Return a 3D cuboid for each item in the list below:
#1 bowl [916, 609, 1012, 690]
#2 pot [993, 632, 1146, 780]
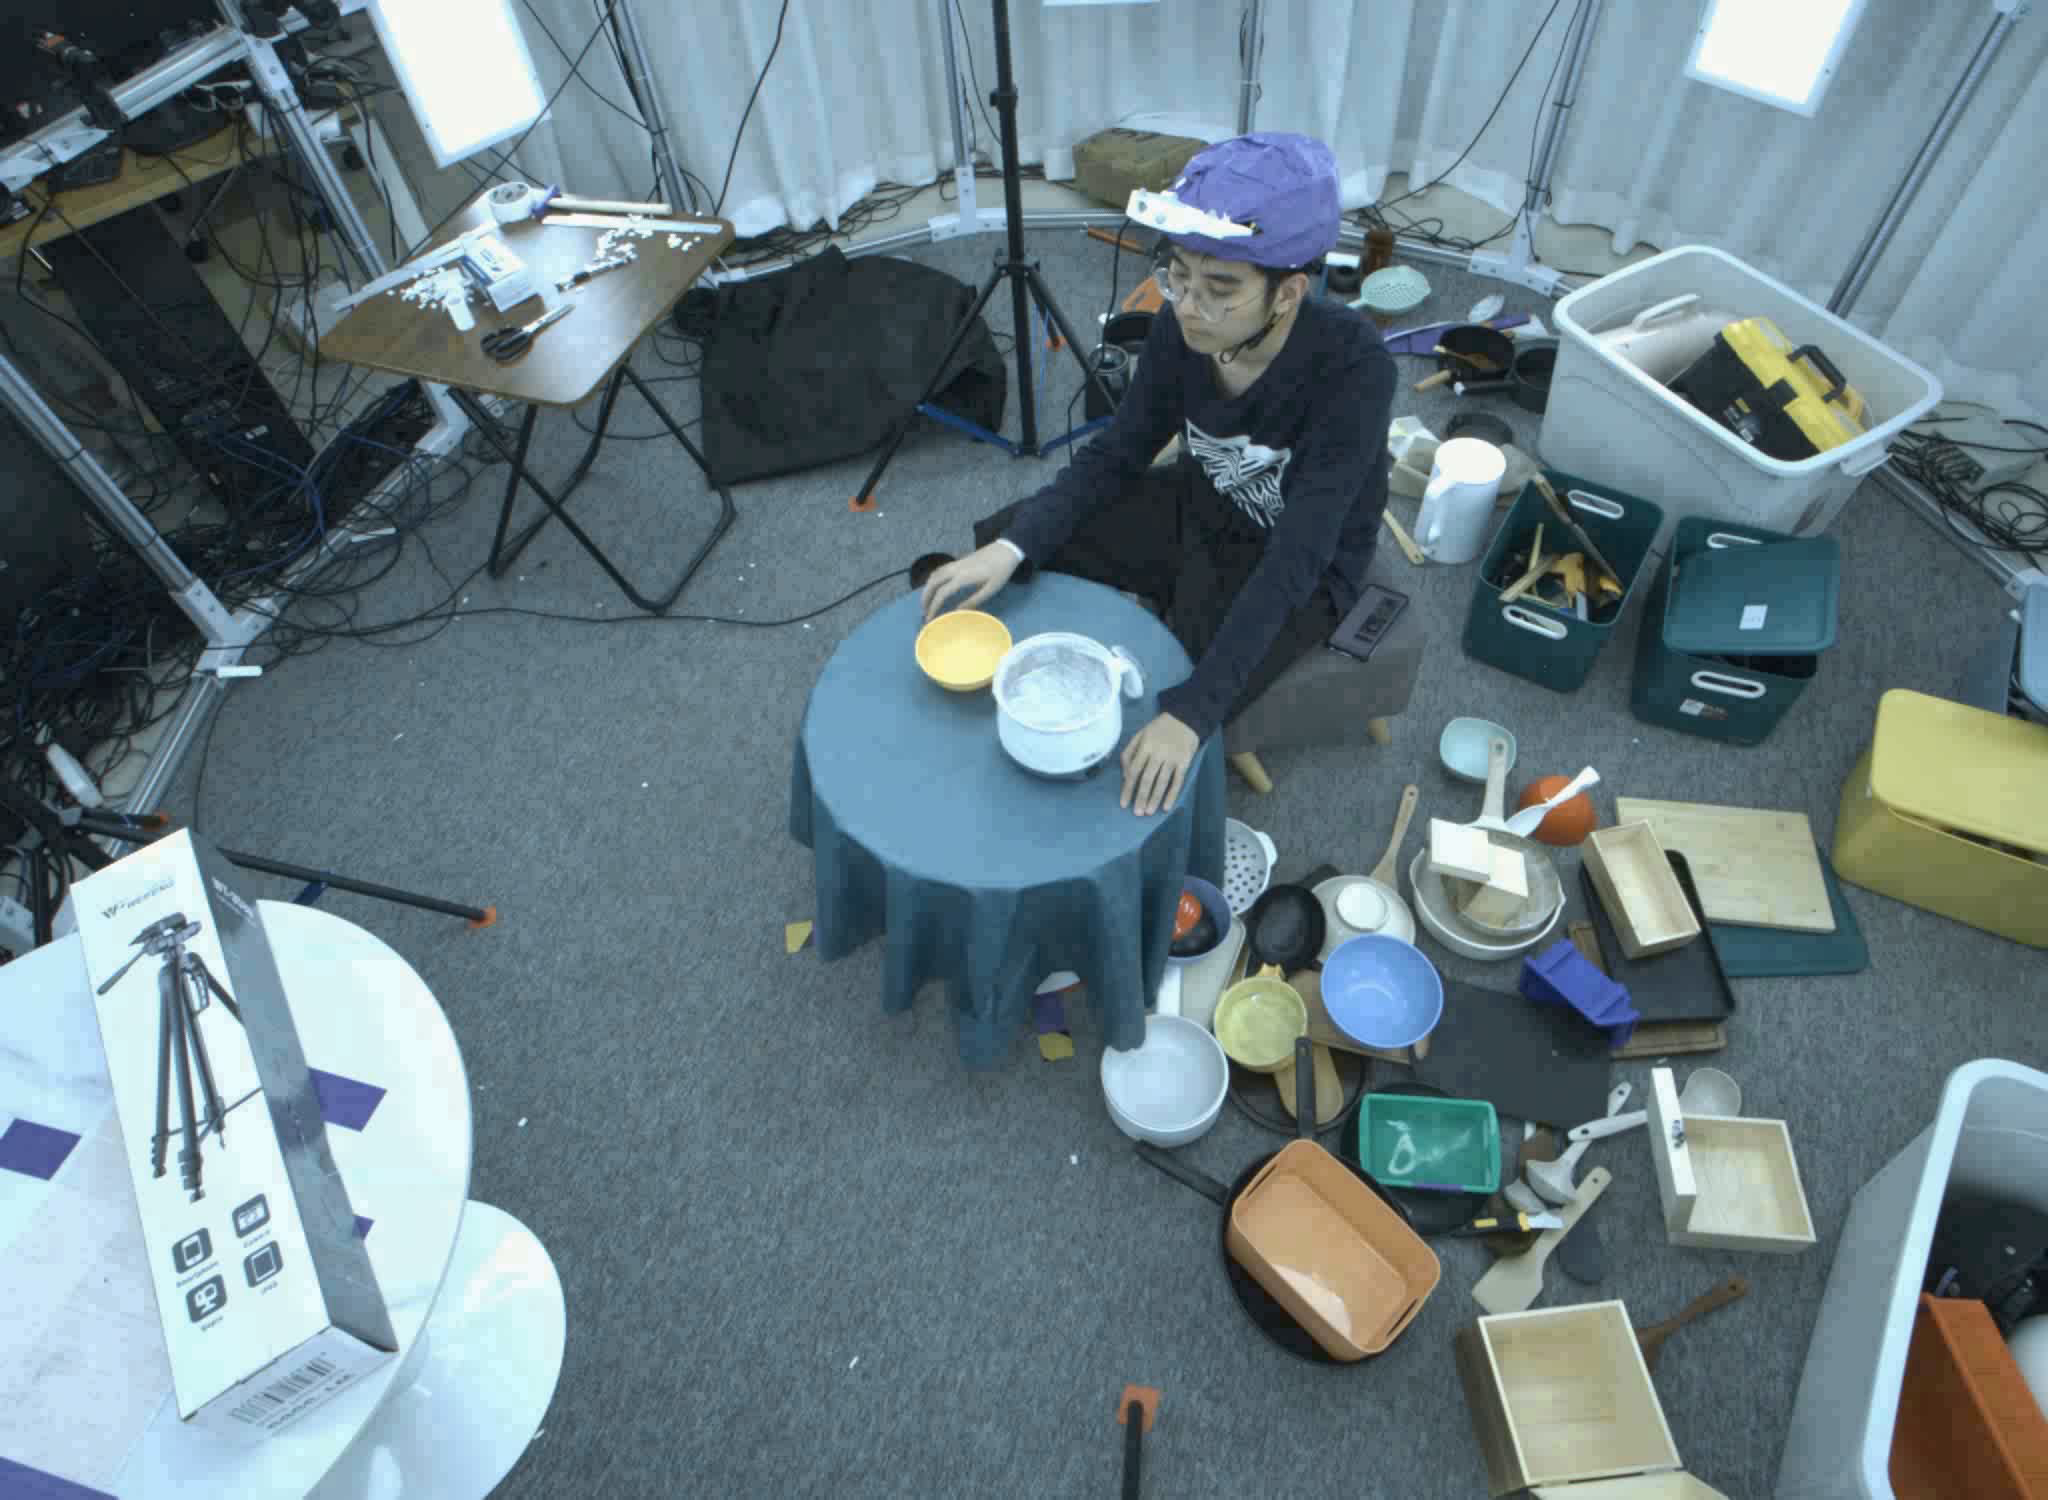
[{"bbox_3d":[-0.089,-0.141,1.860,0.145,0.061,0.144,0,56,1],"label":"bowl"},{"bbox_3d":[0.072,-0.072,1.759,0.235,0.138,0.175,-30,61,-17],"label":"pot"}]
